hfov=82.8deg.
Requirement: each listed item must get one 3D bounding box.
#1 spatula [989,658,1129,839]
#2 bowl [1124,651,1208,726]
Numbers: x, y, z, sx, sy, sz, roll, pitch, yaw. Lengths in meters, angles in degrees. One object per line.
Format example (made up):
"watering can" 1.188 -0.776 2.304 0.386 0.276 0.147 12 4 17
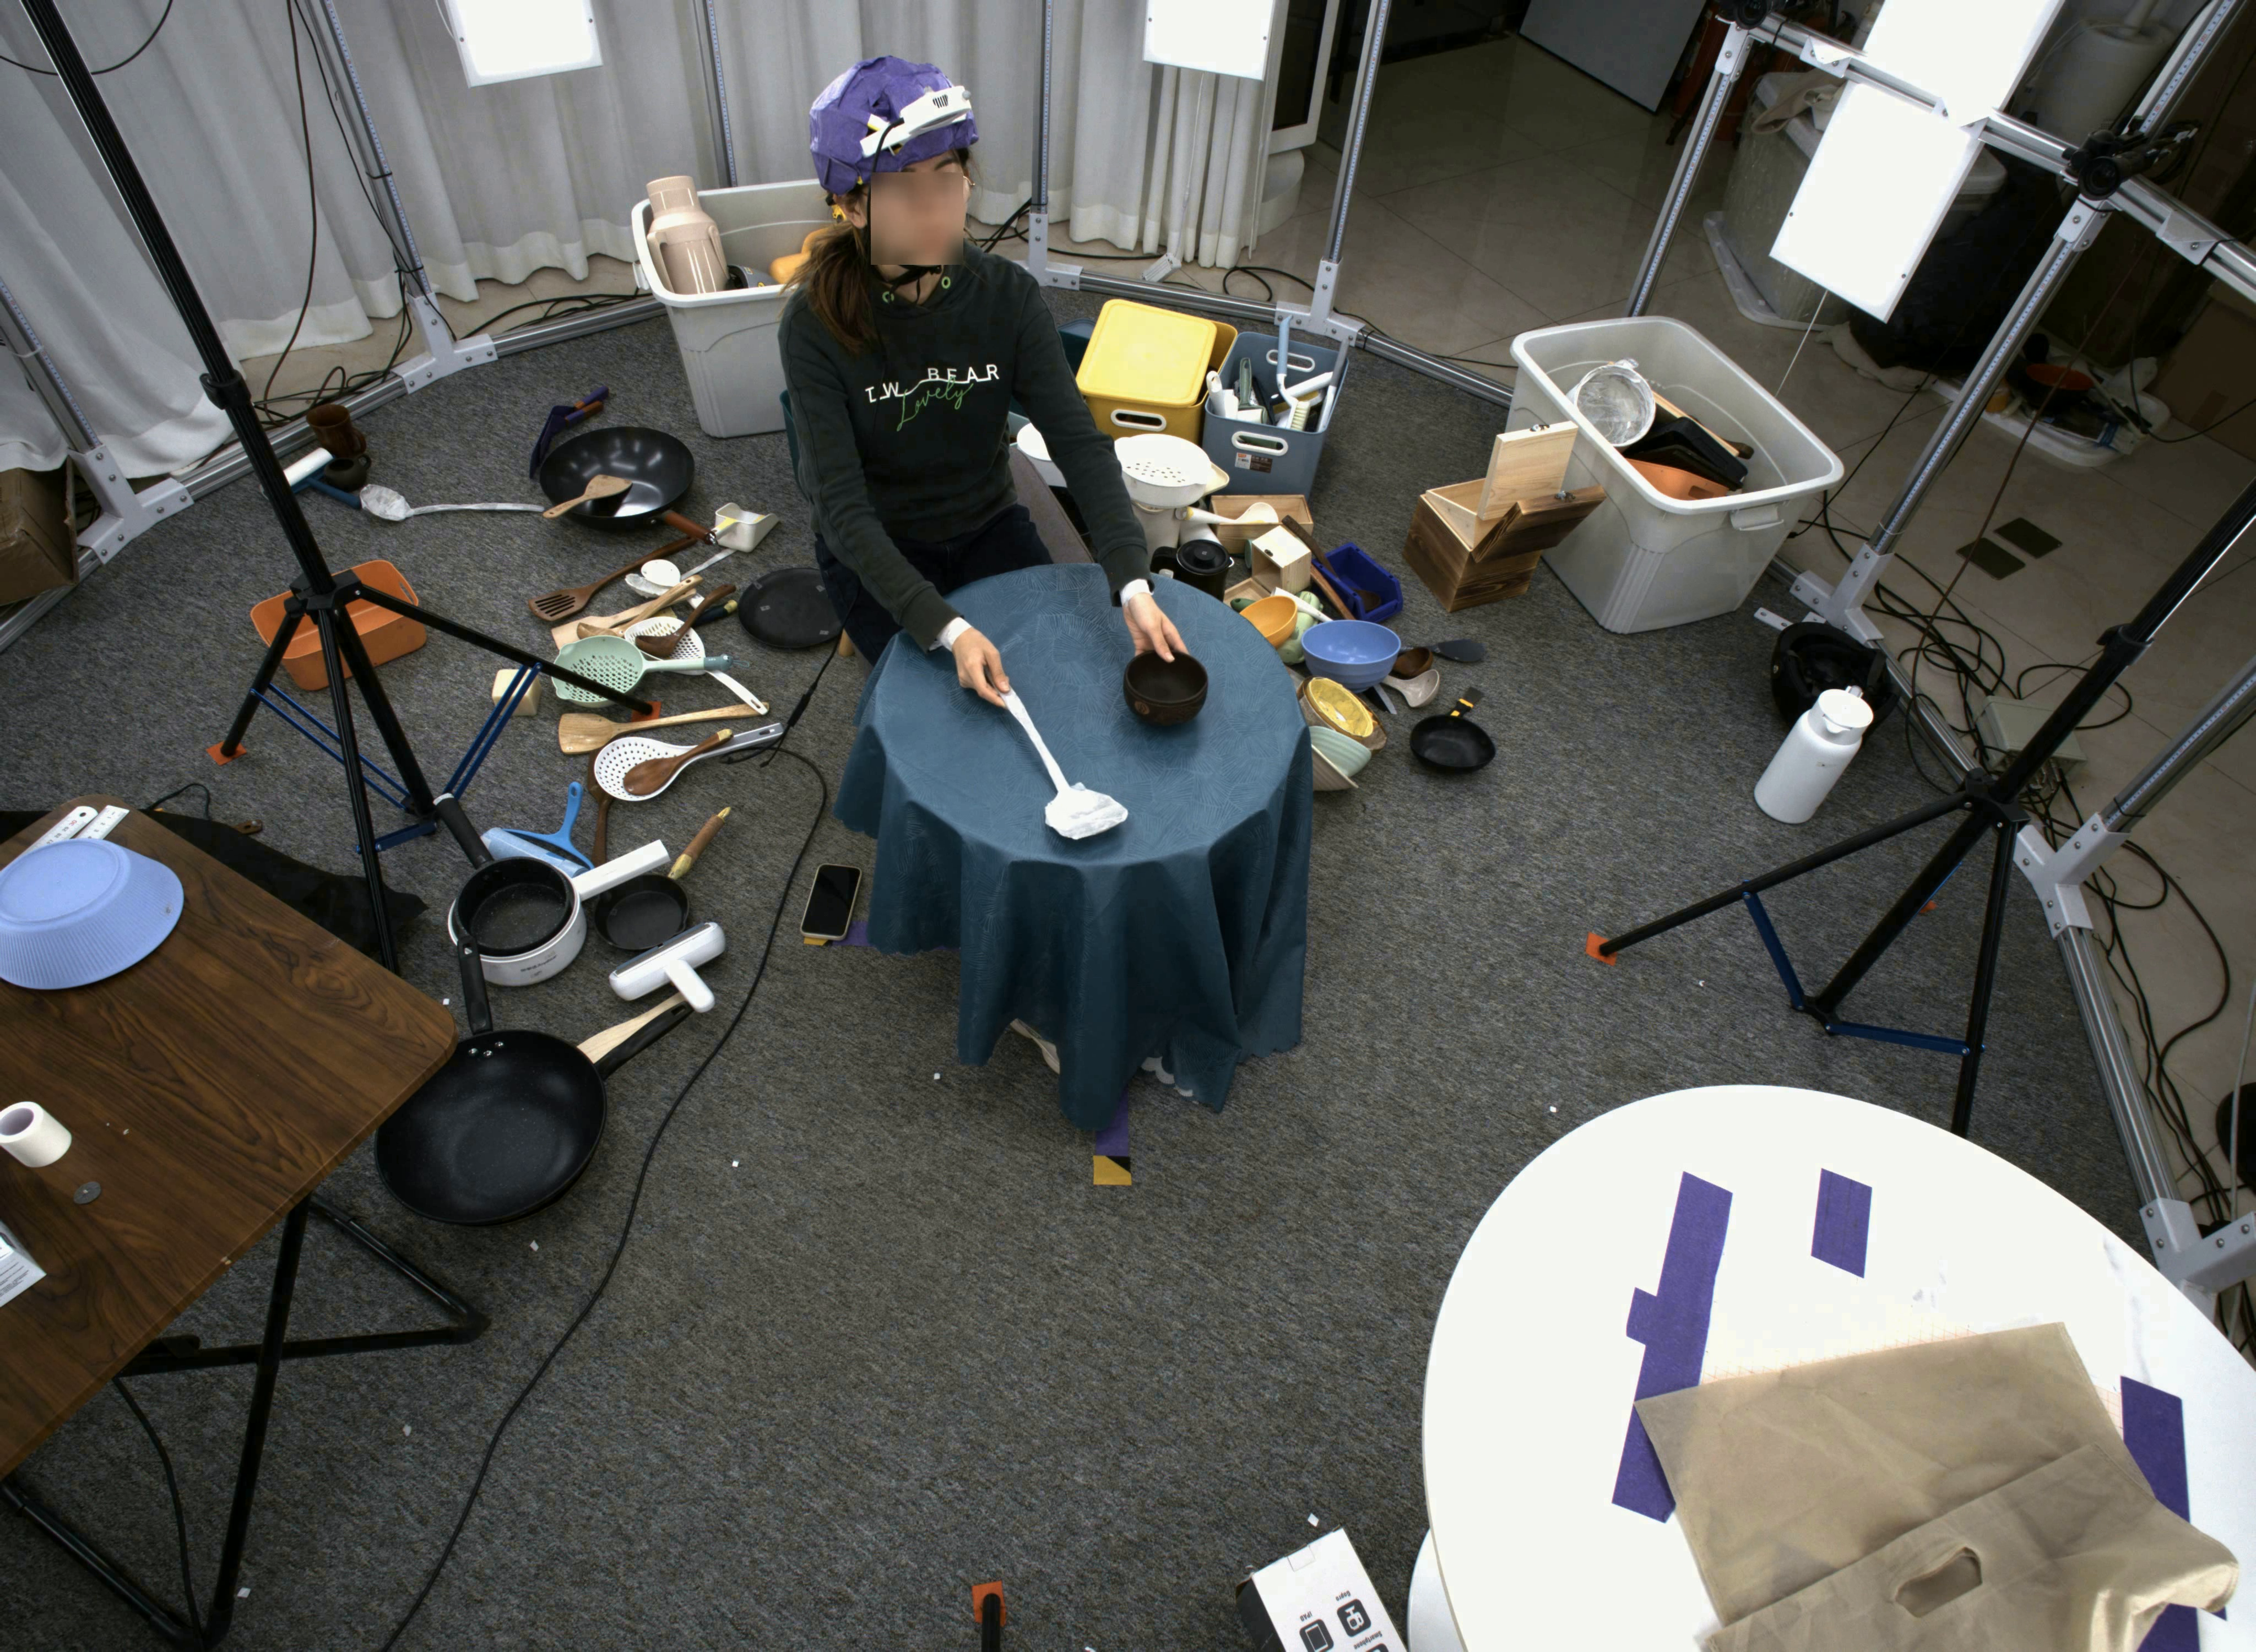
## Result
"spatula" -0.116 -0.116 1.742 0.099 0.044 0.372 -20 57 -18
"bowl" 0.052 -0.185 1.799 0.118 0.068 0.121 2 44 -3
